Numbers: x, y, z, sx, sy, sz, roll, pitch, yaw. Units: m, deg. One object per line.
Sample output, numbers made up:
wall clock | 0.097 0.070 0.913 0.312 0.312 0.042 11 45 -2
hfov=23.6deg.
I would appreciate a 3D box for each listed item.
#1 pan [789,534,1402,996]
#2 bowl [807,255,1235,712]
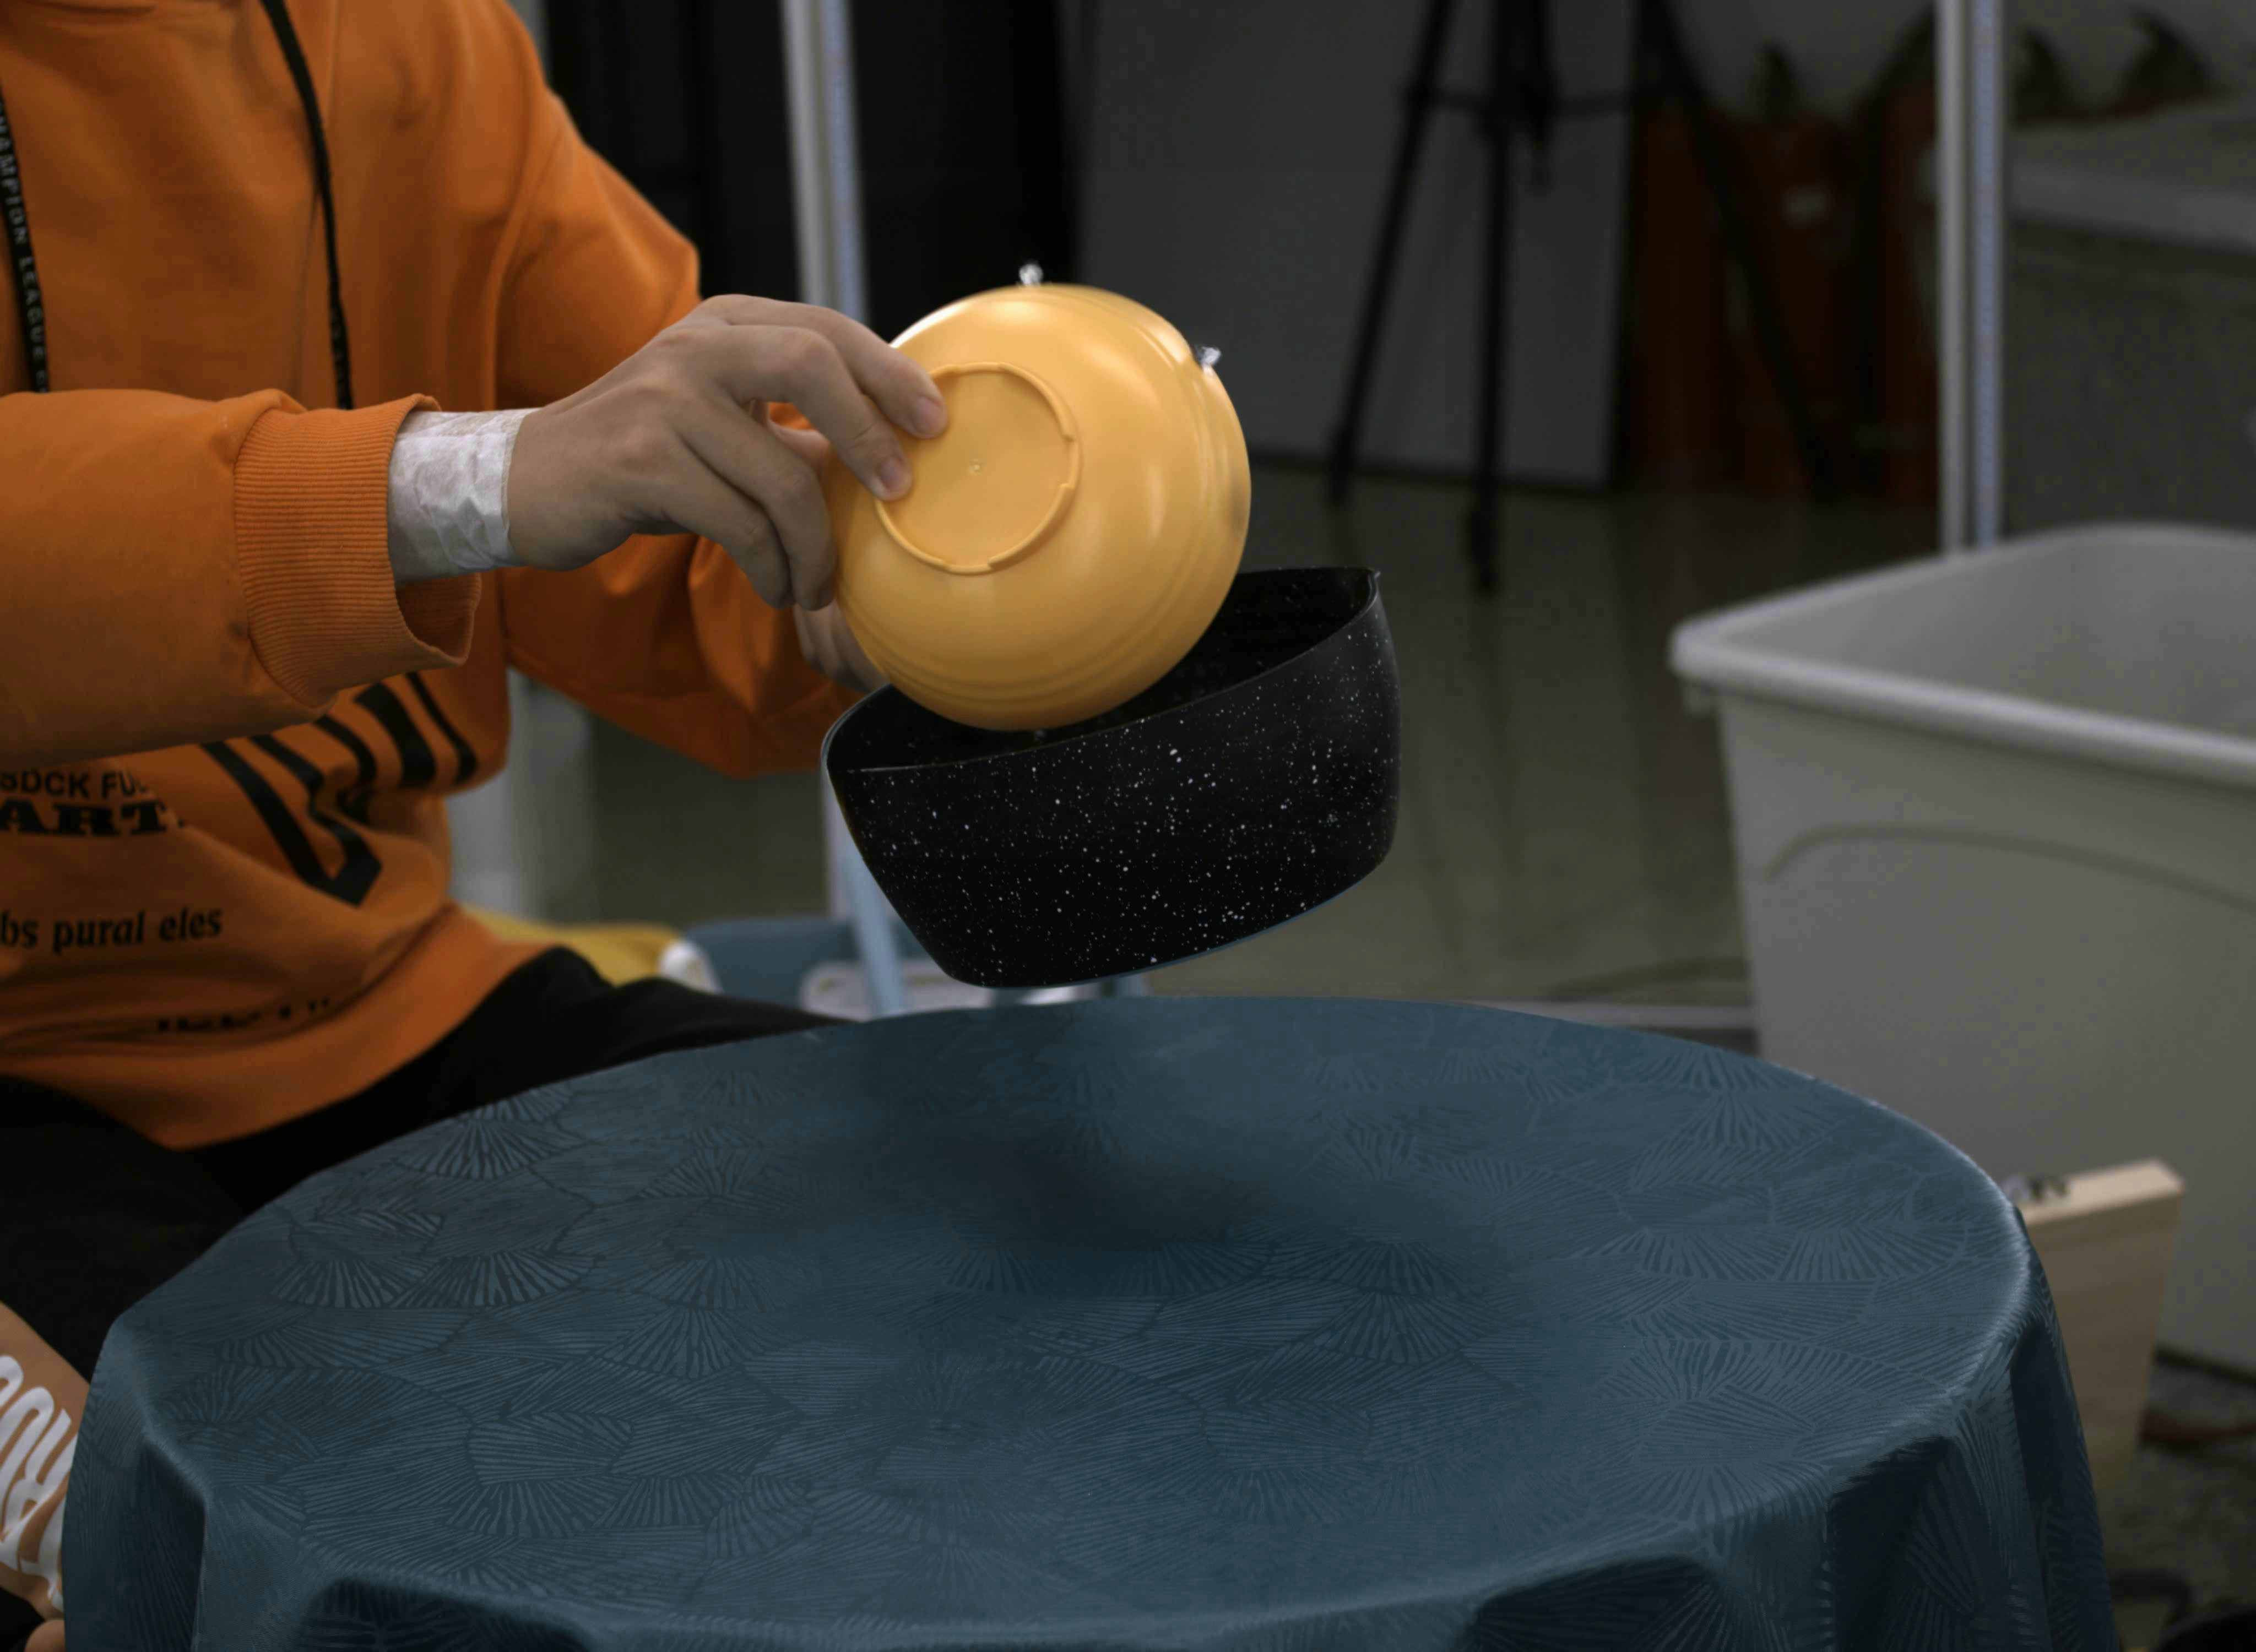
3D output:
pan | -0.032 -0.035 1.789 0.204 0.109 0.346 -23 16 -18
bowl | -0.042 -0.112 1.665 0.145 0.147 0.059 2 -10 22
